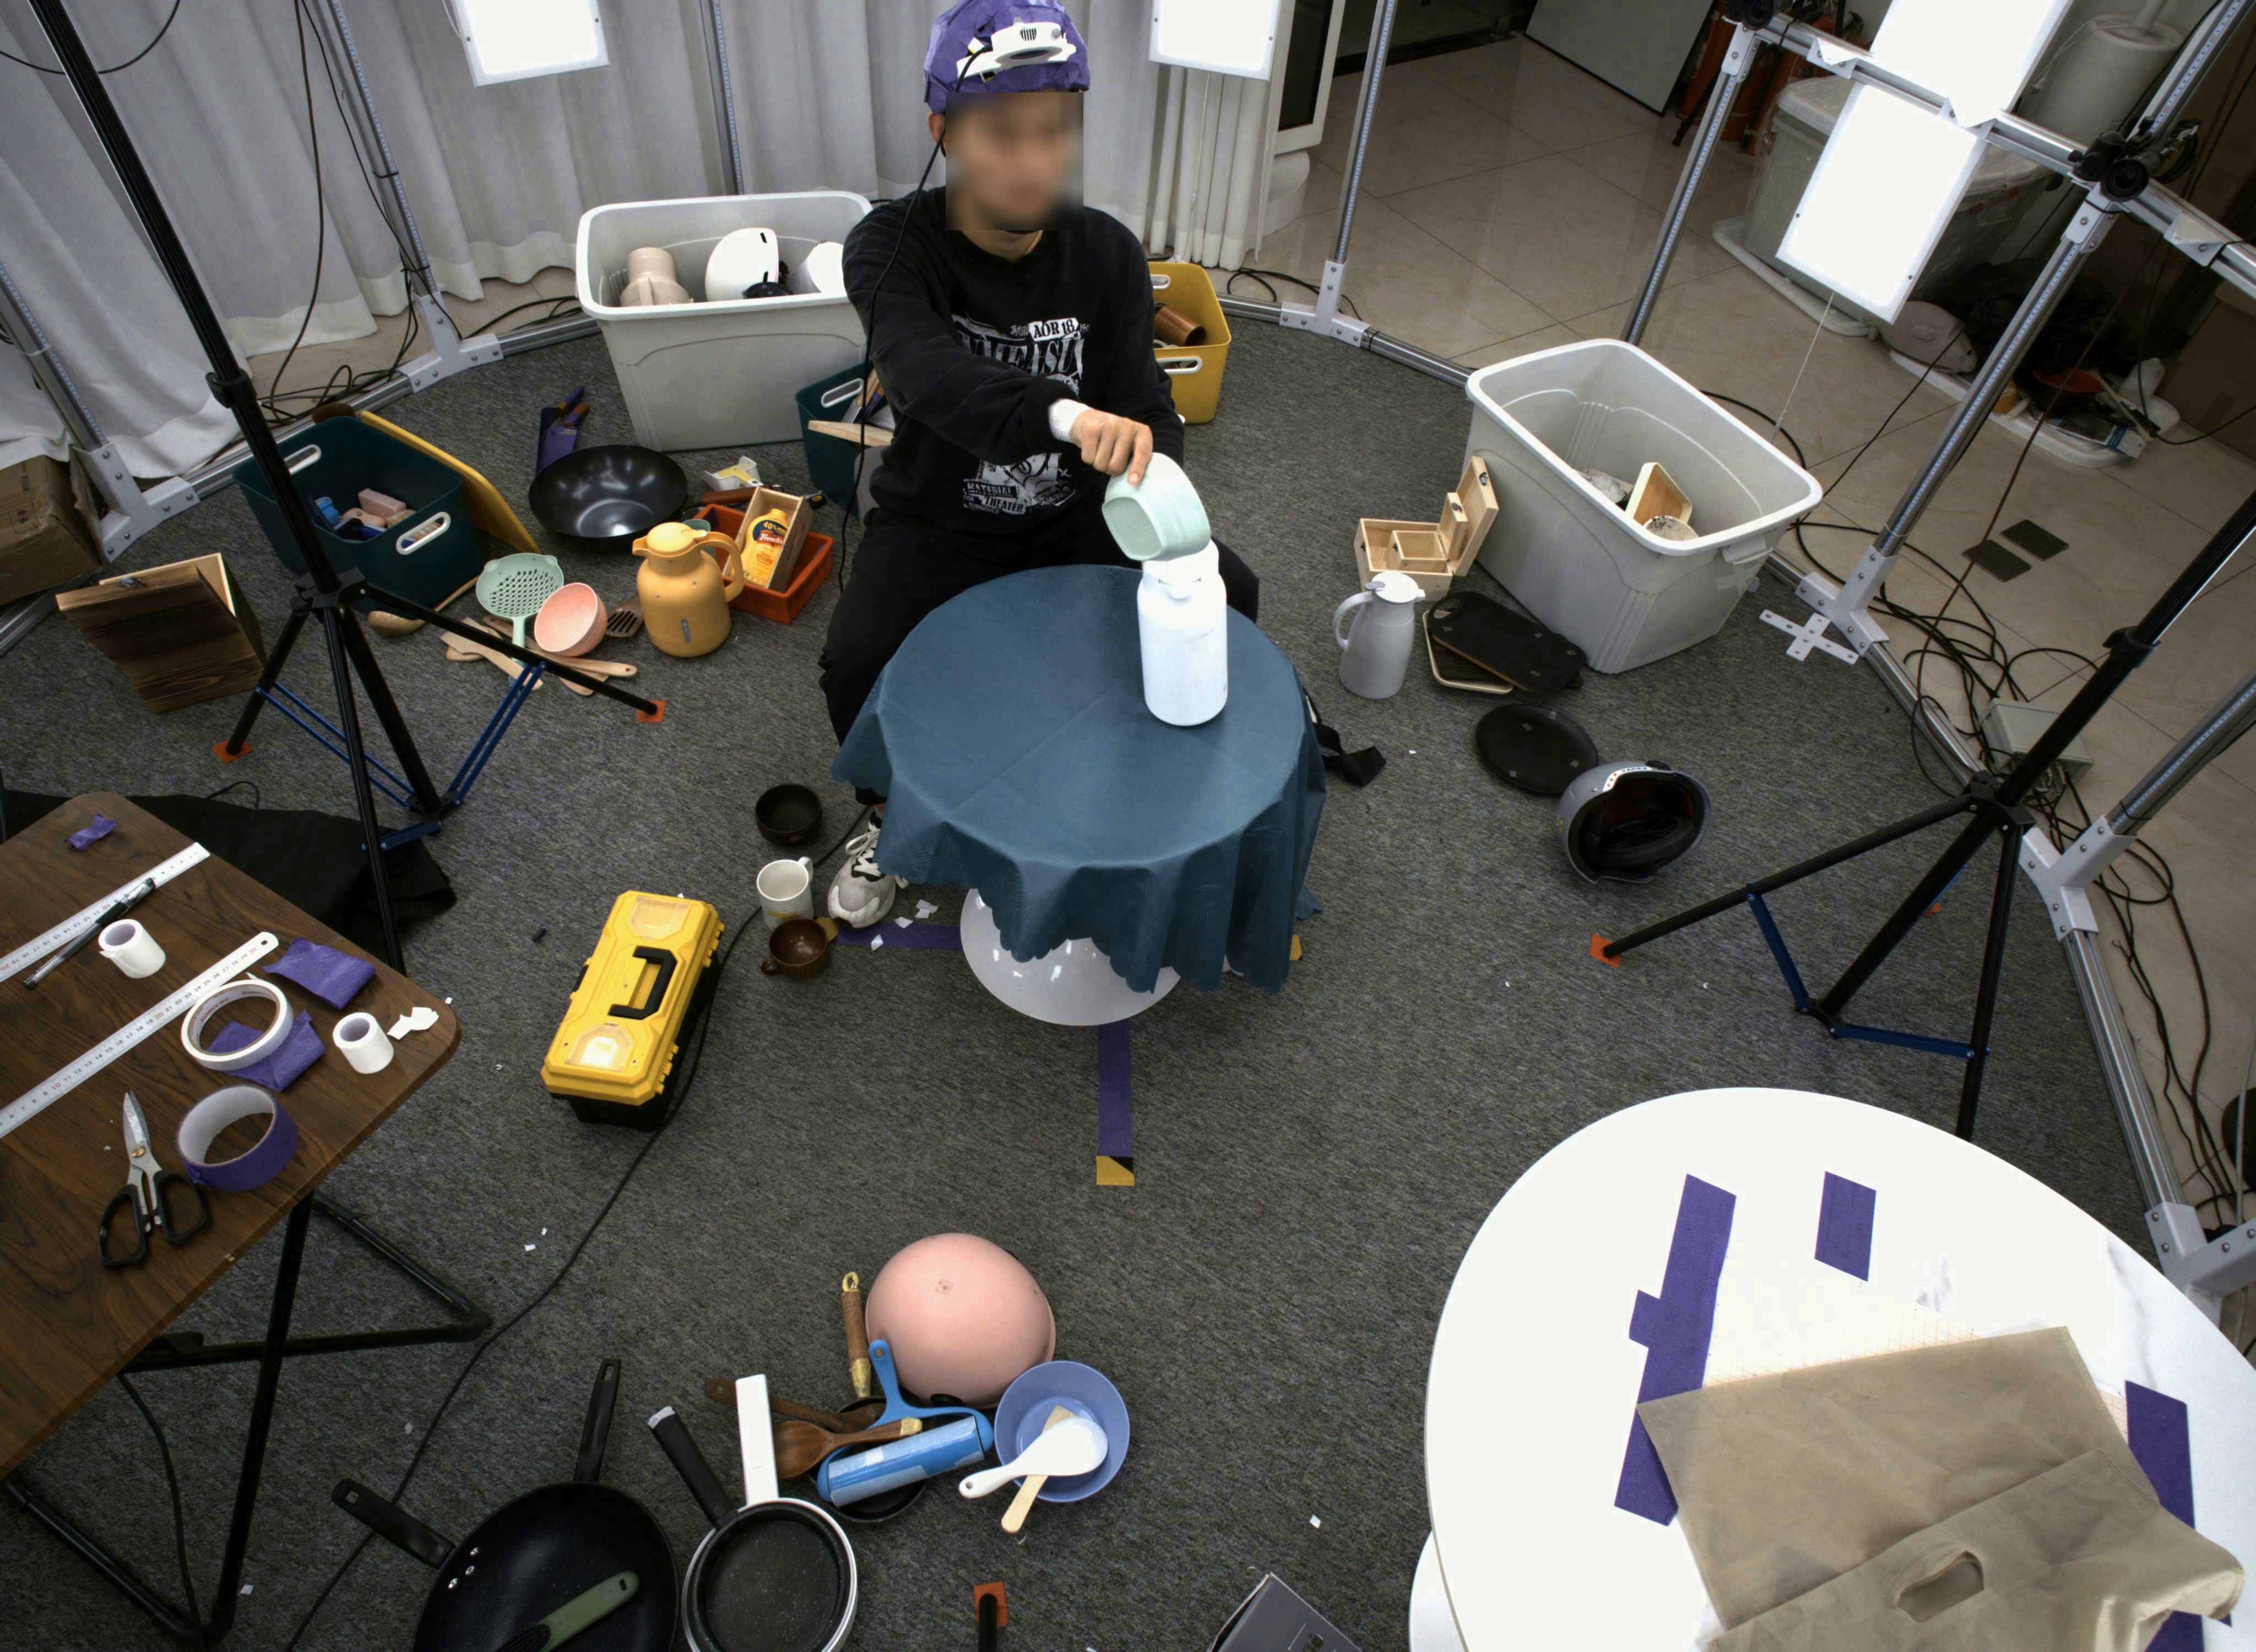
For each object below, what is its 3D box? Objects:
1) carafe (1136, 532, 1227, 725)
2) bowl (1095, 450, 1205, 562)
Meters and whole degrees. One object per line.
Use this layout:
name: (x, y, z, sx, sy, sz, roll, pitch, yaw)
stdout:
carafe: (0.072, -0.276, 1.735, 0.124, 0.262, 0.177, -4, 51, 5)
bowl: (0.016, -0.364, 1.518, 0.153, 0.148, 0.059, 36, 62, 24)
